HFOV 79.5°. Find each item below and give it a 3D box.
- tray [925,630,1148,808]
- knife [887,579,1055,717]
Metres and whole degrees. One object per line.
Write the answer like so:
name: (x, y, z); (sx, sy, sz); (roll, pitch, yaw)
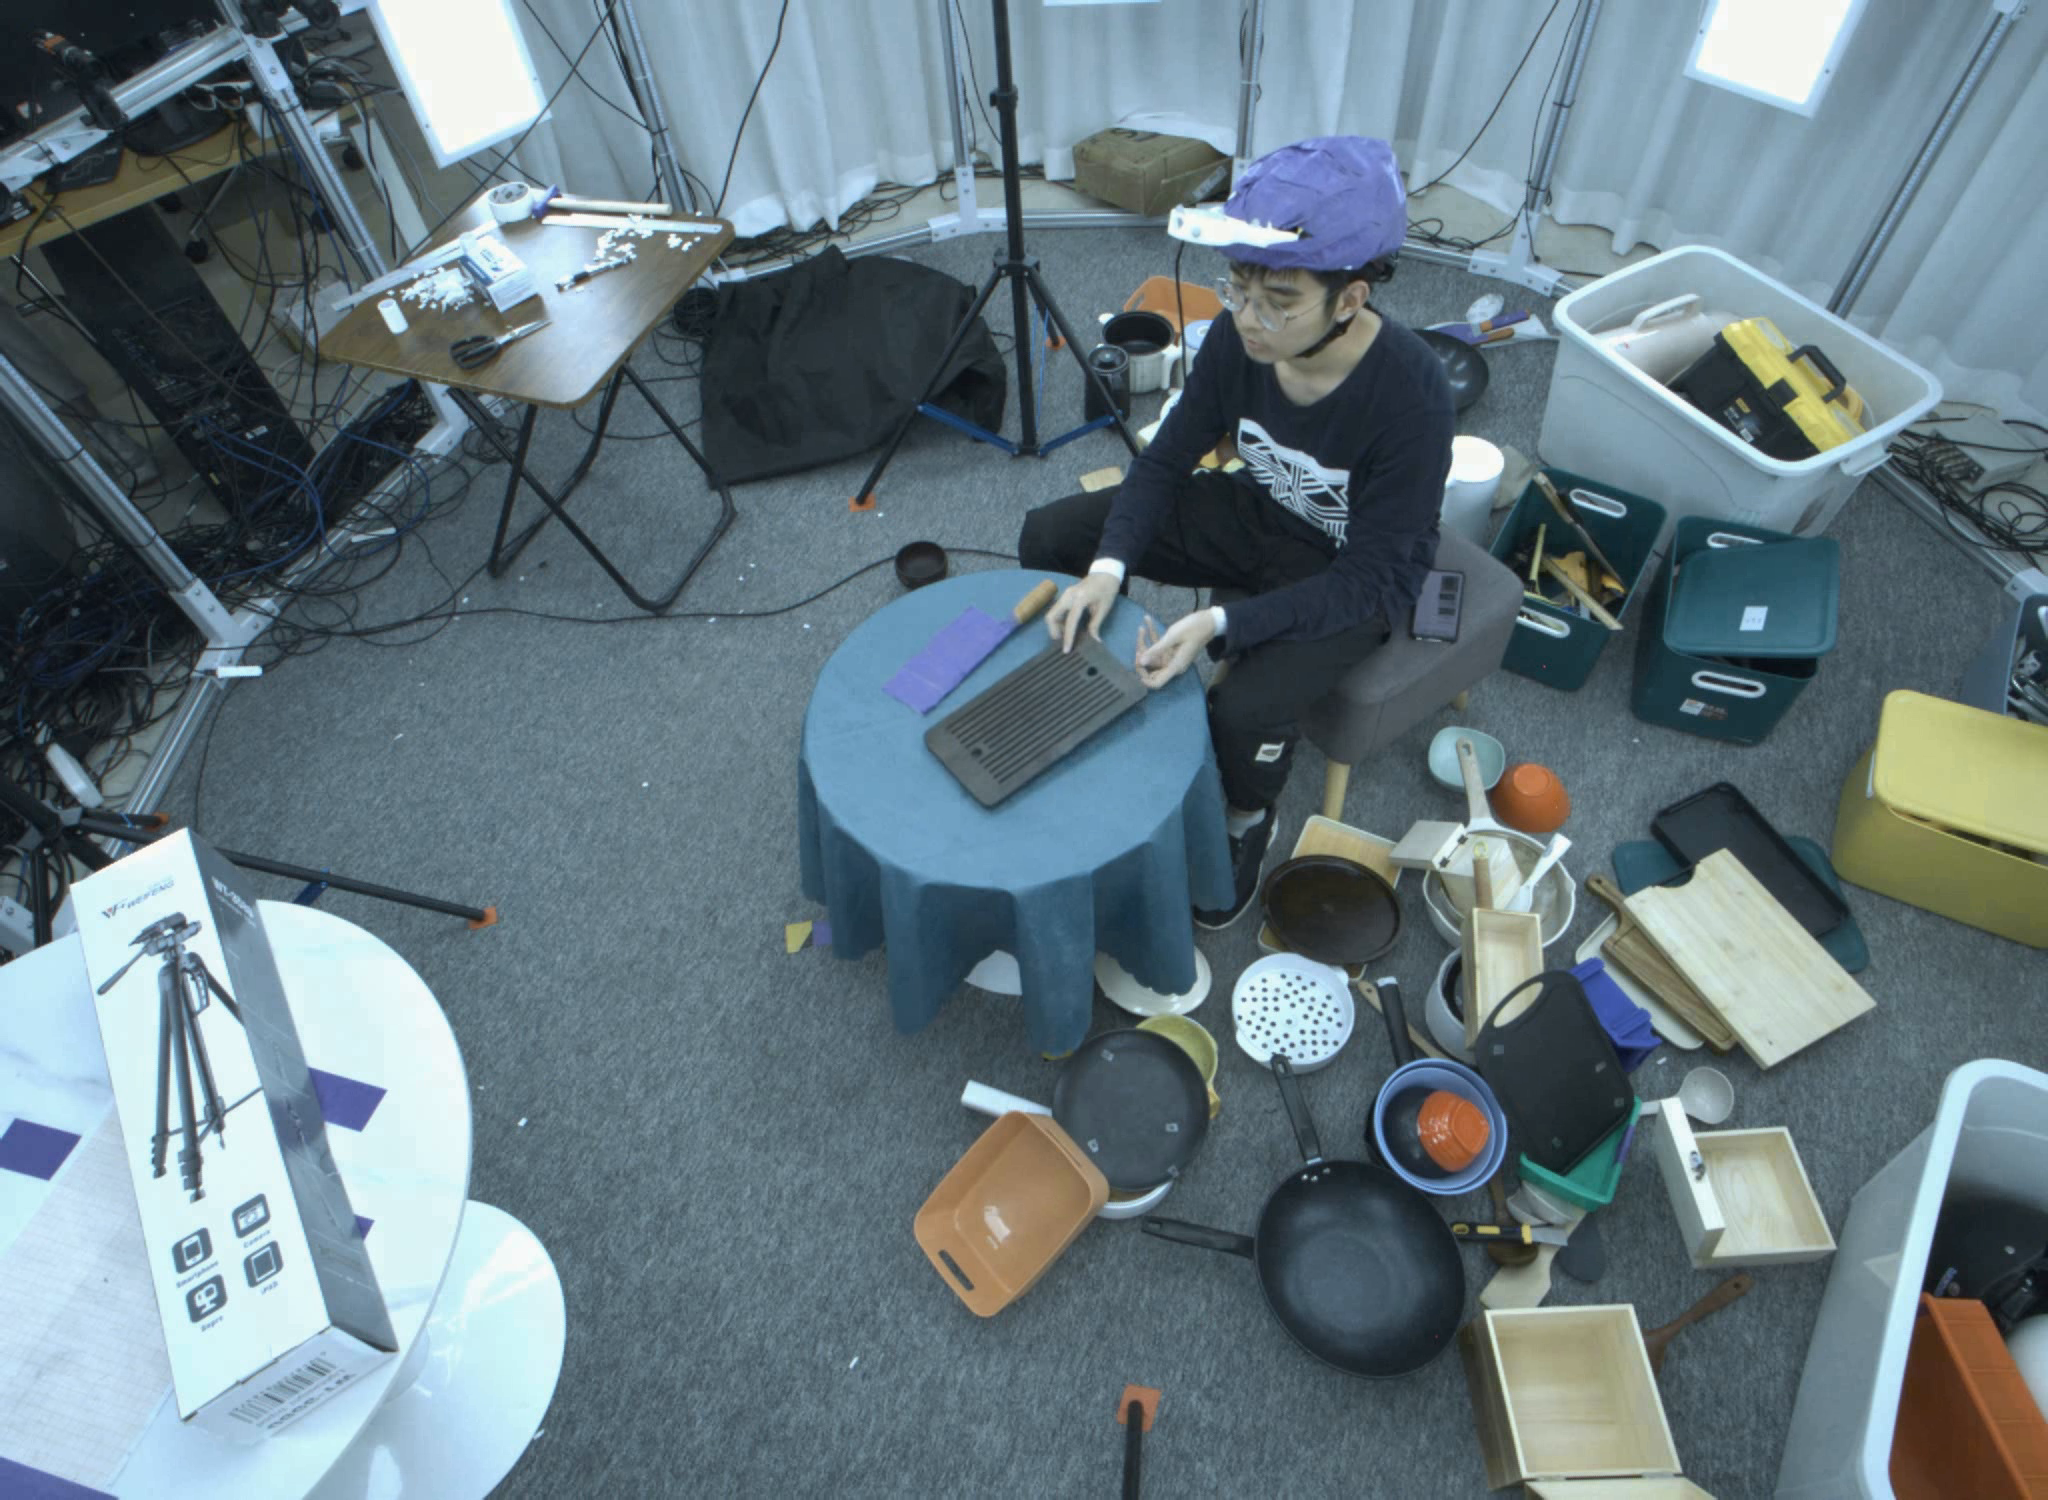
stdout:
tray: (0.020, -0.049, 1.808); (0.308, 0.019, 0.167); (-35, 61, -18)
knife: (-0.084, -0.176, 1.906); (0.102, 0.032, 0.317); (33, 62, 22)
